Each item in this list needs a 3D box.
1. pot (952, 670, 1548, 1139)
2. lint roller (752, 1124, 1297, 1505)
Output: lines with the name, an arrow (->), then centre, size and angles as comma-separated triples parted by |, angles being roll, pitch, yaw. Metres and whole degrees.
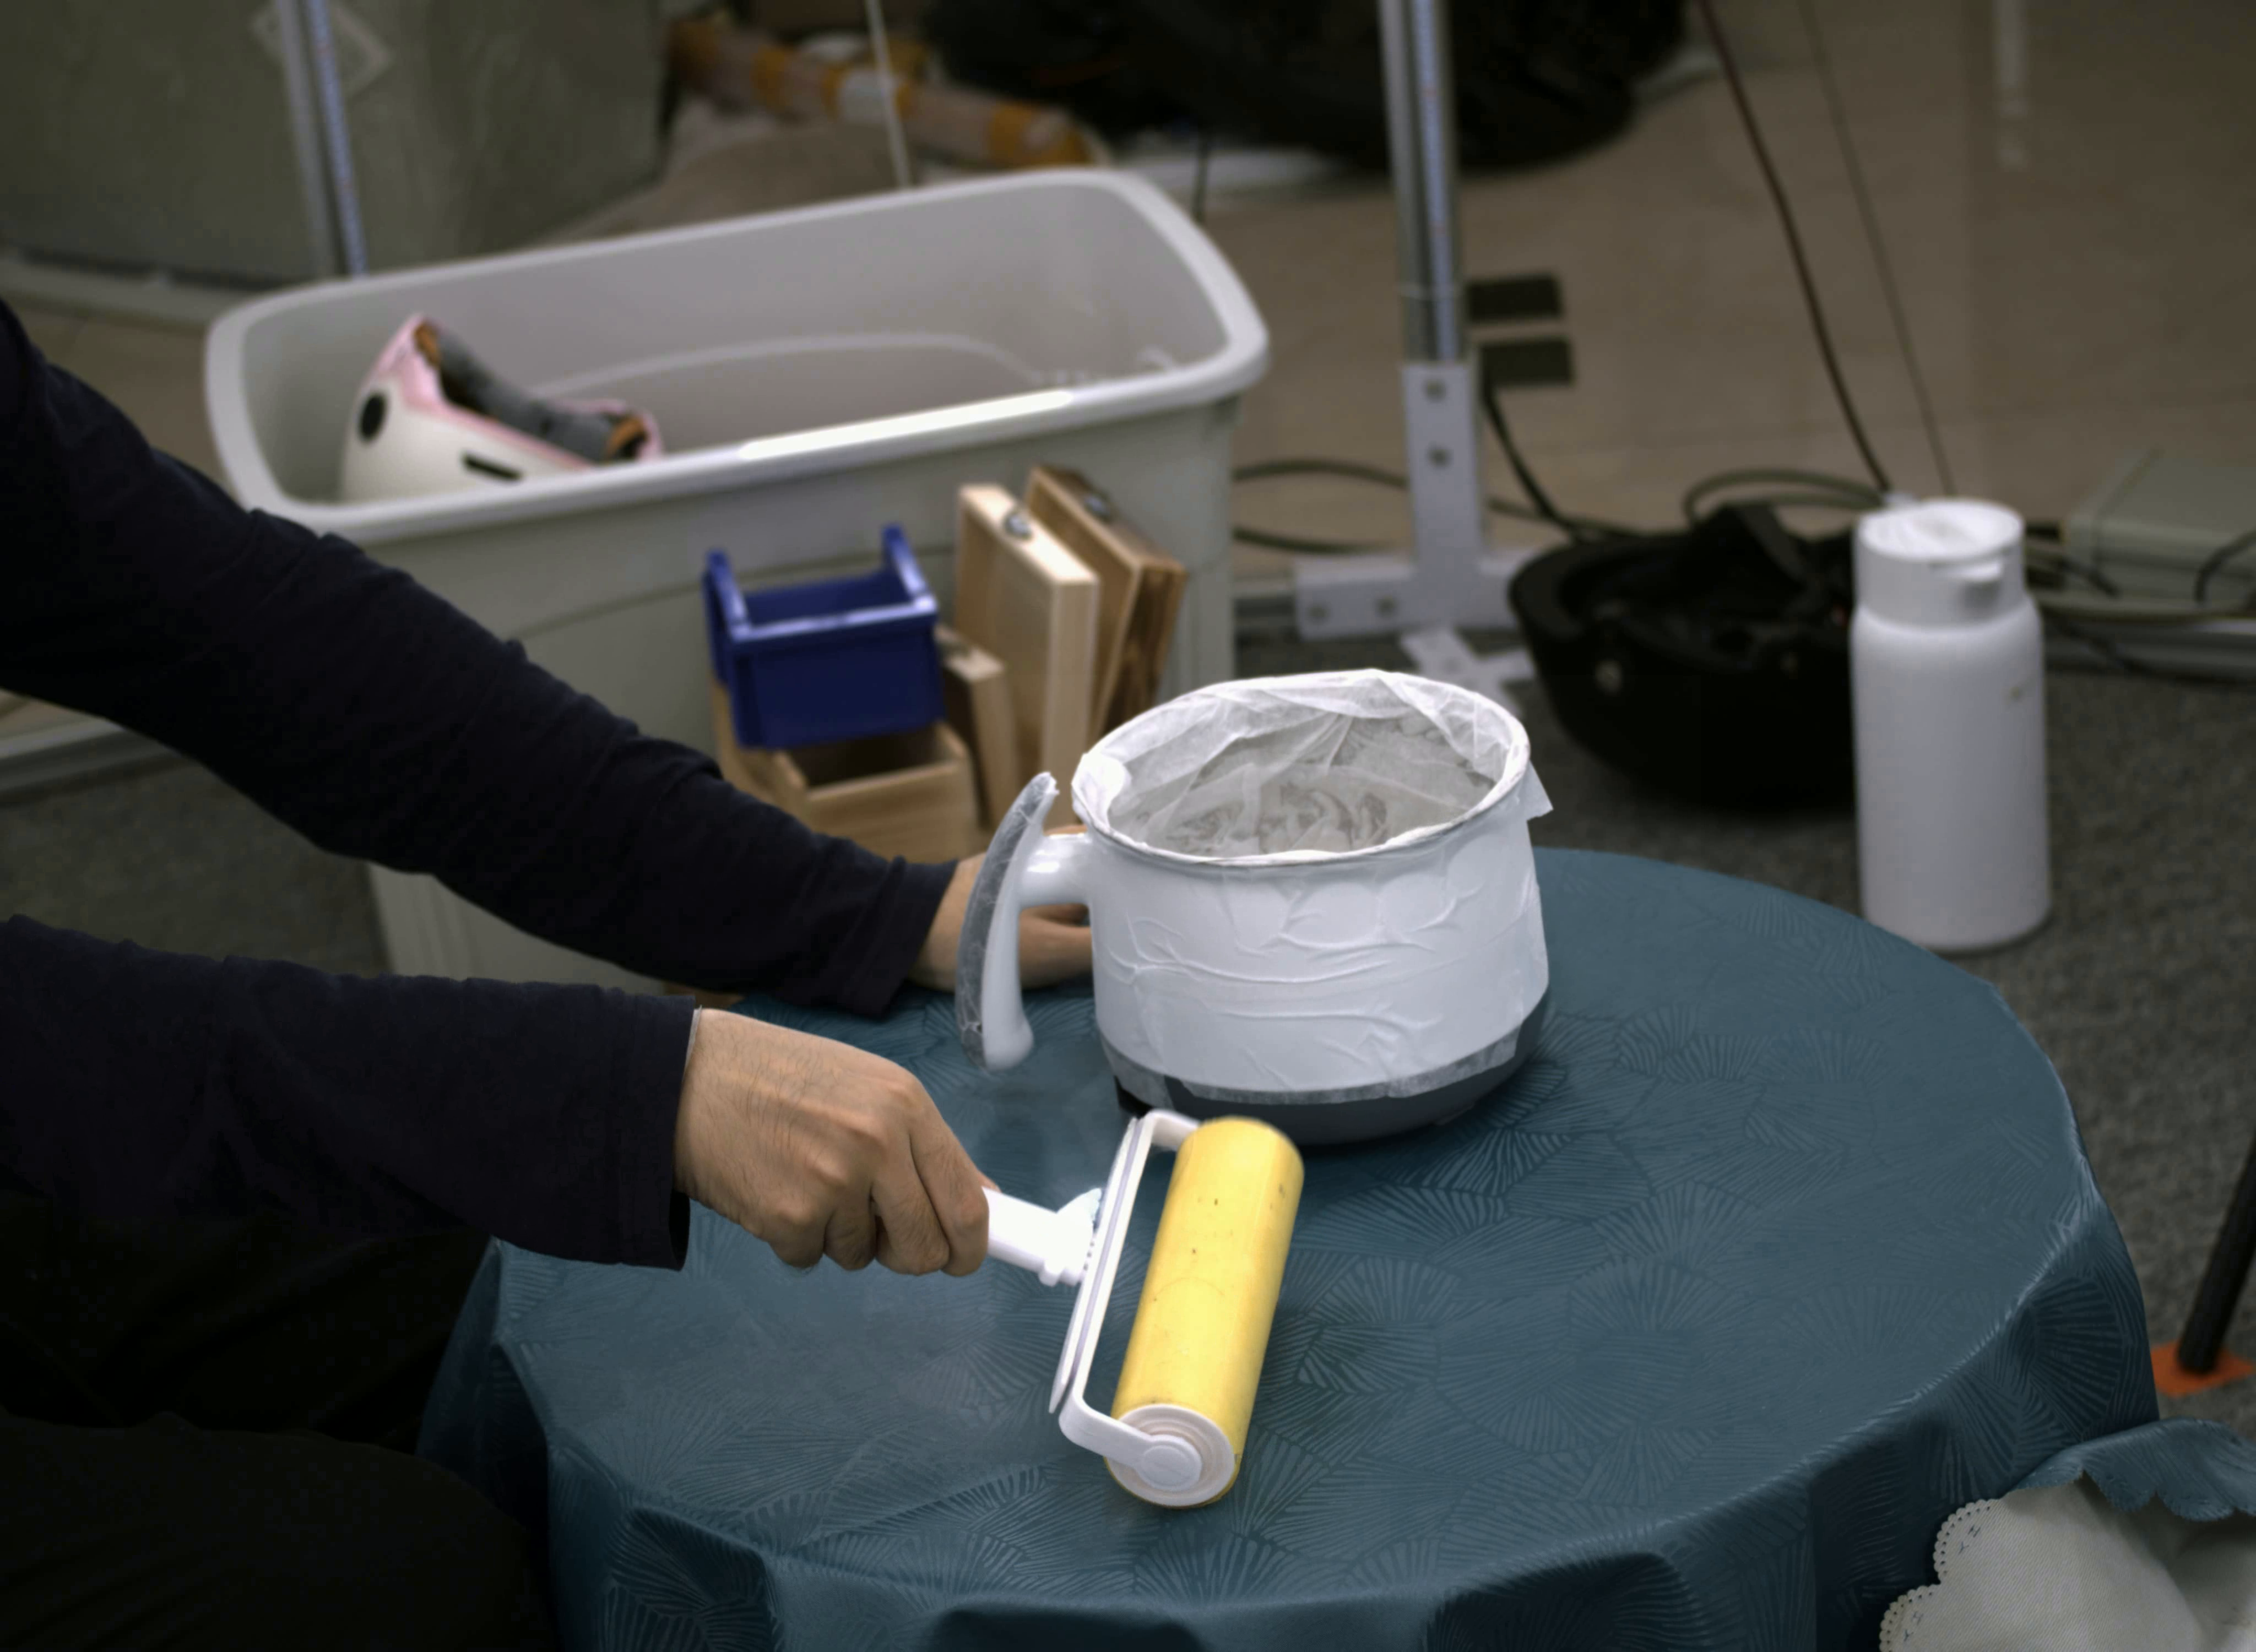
pot -> 0.045, 0.034, 2.196 | 0.233, 0.139, 0.176 | -4, 24, 2
lint roller -> -0.036, 0.139, 1.976 | 0.192, 0.052, 0.171 | 28, 33, -10
